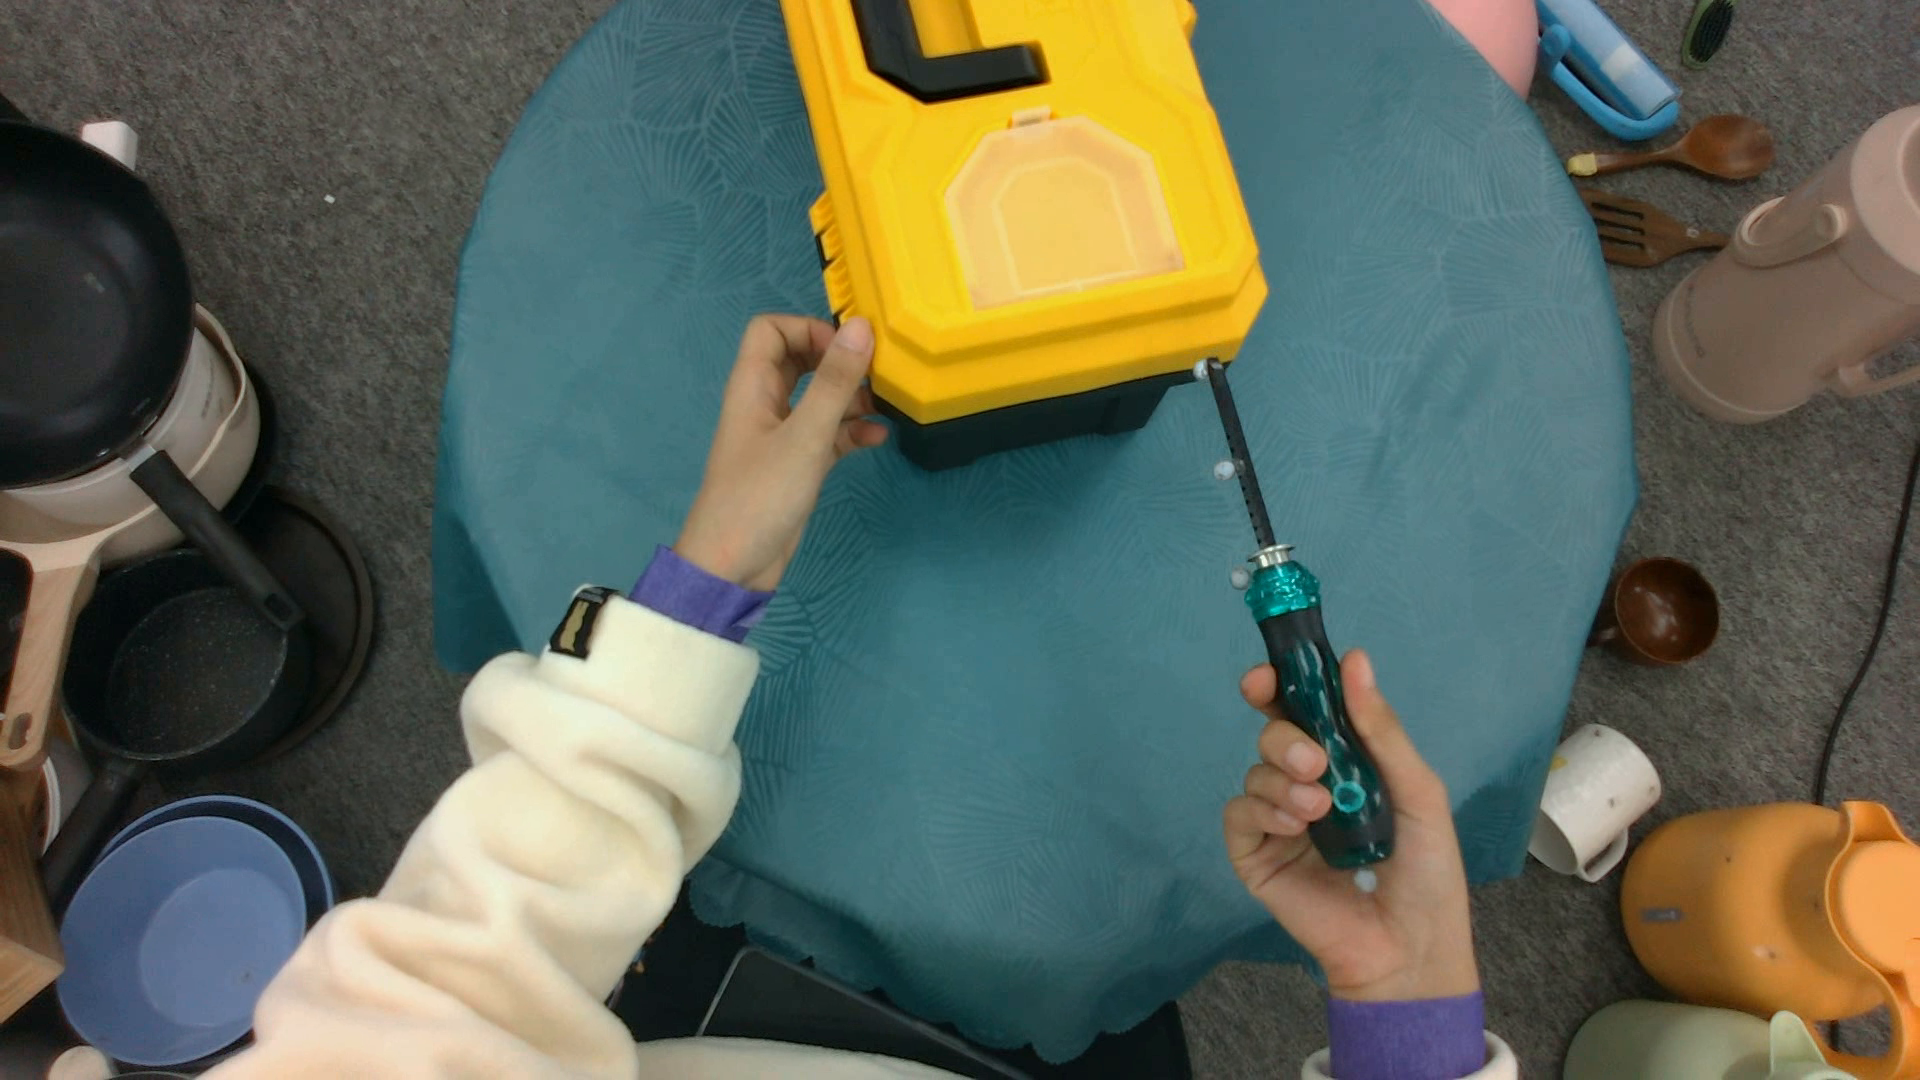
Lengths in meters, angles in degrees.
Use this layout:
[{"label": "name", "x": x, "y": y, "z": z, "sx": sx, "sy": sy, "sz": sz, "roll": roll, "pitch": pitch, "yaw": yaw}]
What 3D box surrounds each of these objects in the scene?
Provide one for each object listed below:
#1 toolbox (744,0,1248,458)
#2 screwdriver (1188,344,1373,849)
[{"label": "toolbox", "x": -0.004, "y": -0.221, "z": 0.639, "sx": 0.181, "sy": 0.172, "sz": 0.352, "roll": -12, "pitch": 75, "yaw": -8}, {"label": "screwdriver", "x": 0.109, "y": 0.016, "z": 0.498, "sx": 0.034, "sy": 0.033, "sz": 0.190, "roll": -12, "pitch": 77, "yaw": -8}]
